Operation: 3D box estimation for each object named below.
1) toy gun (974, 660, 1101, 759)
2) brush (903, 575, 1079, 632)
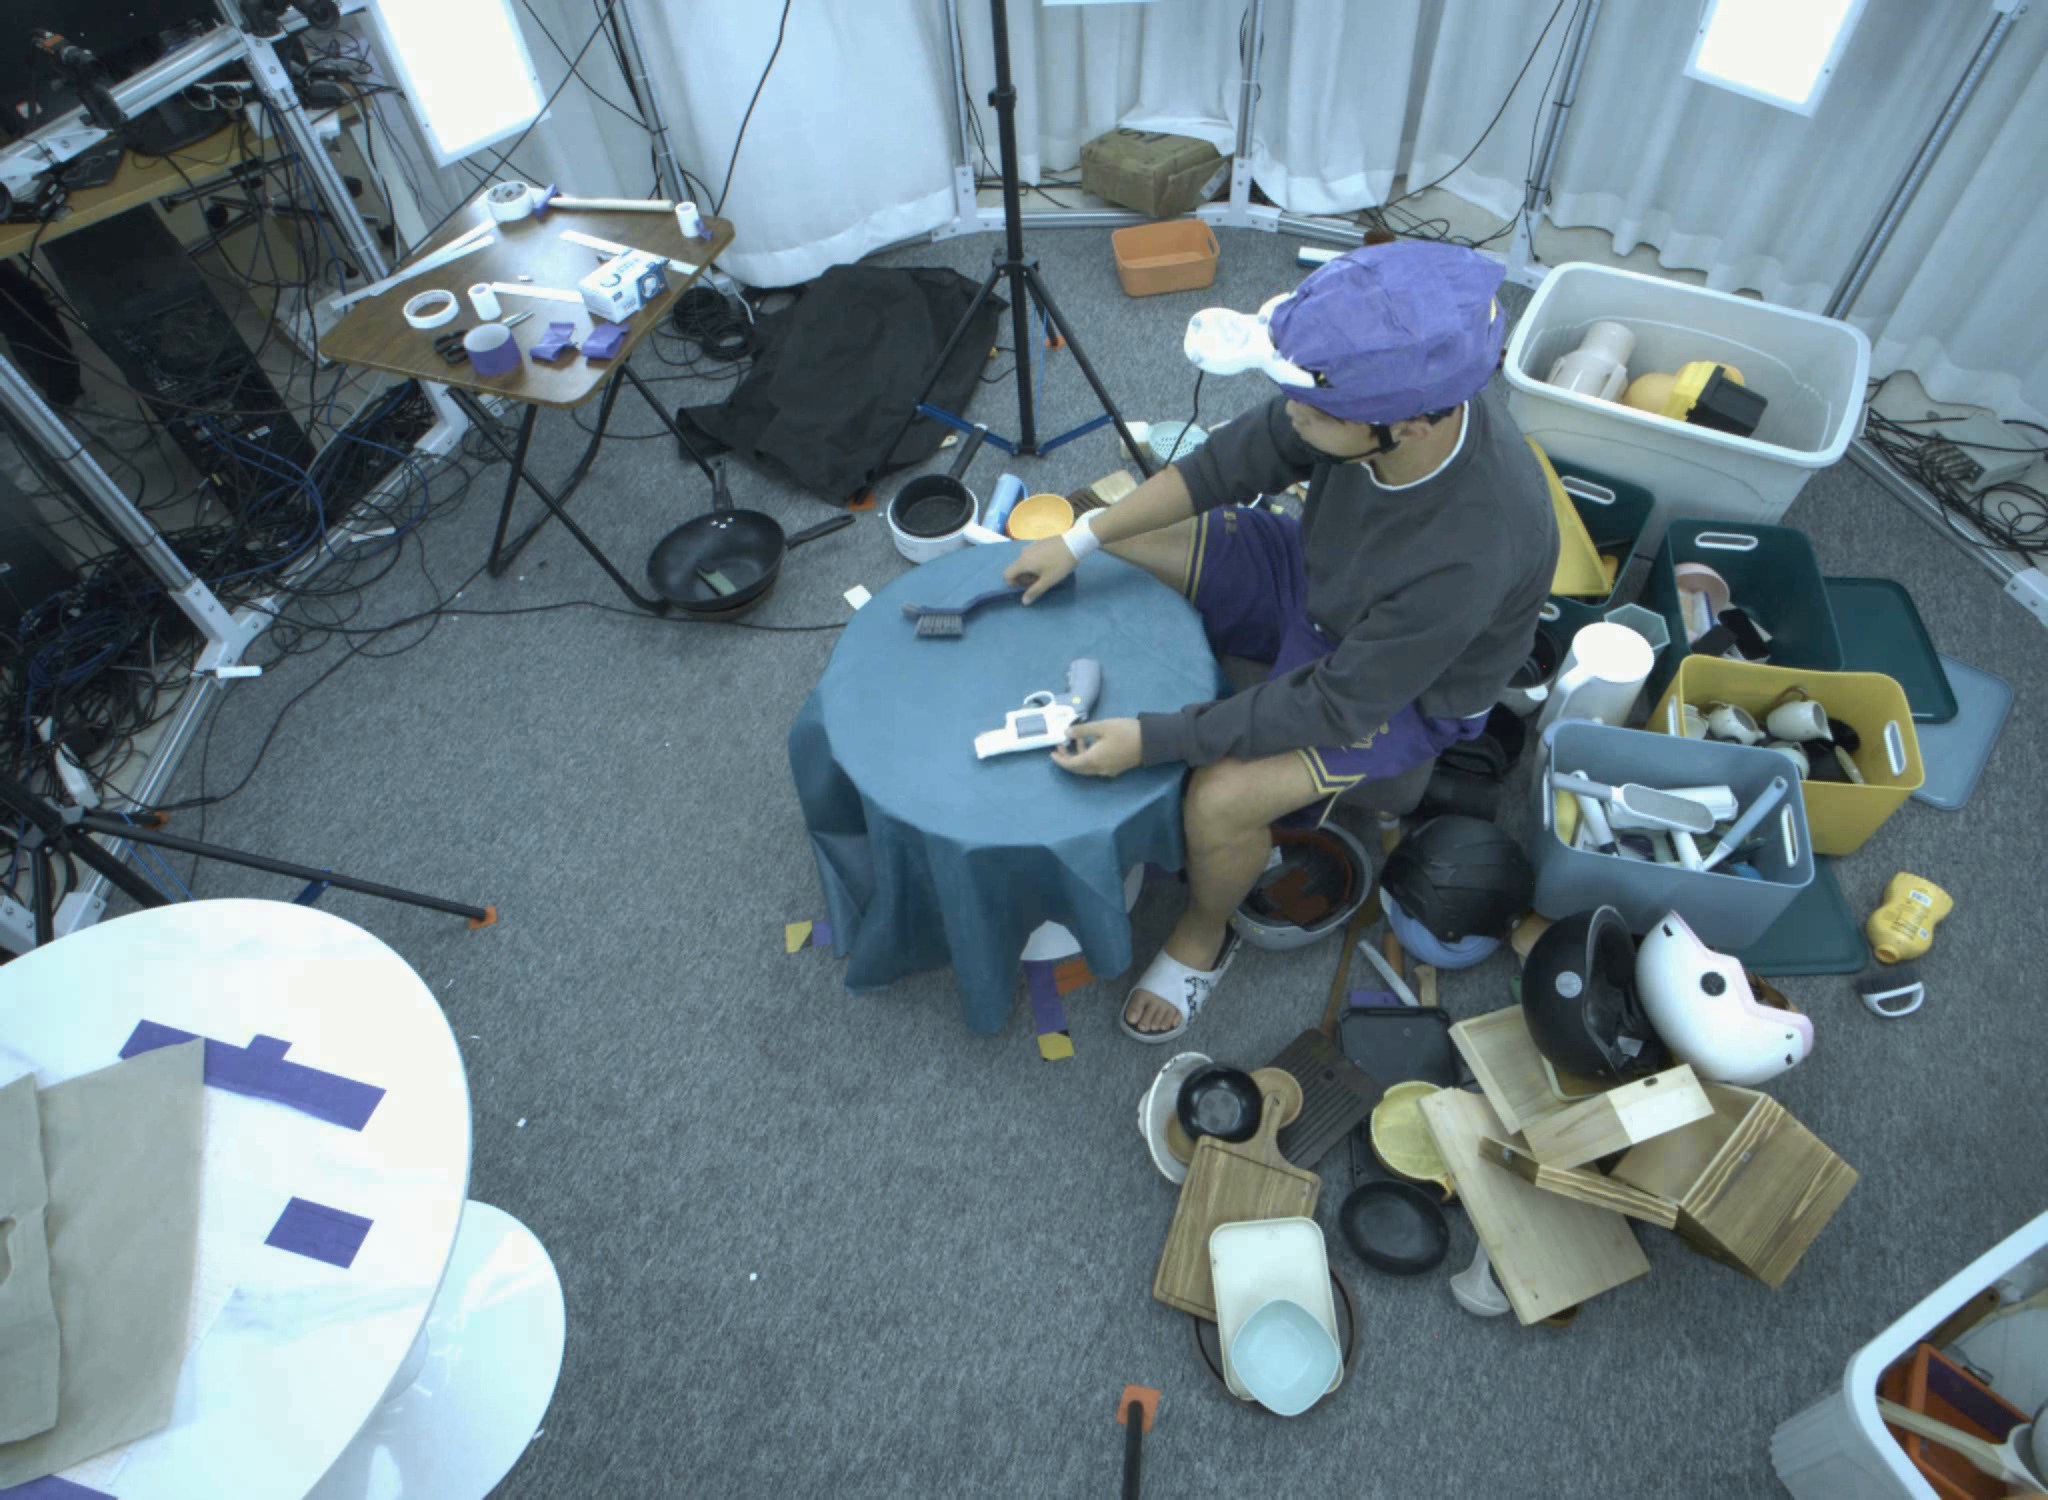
[{"bbox_3d":[0.023,-0.059,1.808,0.210,0.039,0.139,-10,53,-5],"label":"toy gun"},{"bbox_3d":[-0.051,-0.245,1.946,0.275,0.034,0.094,-19,56,-11],"label":"brush"}]
